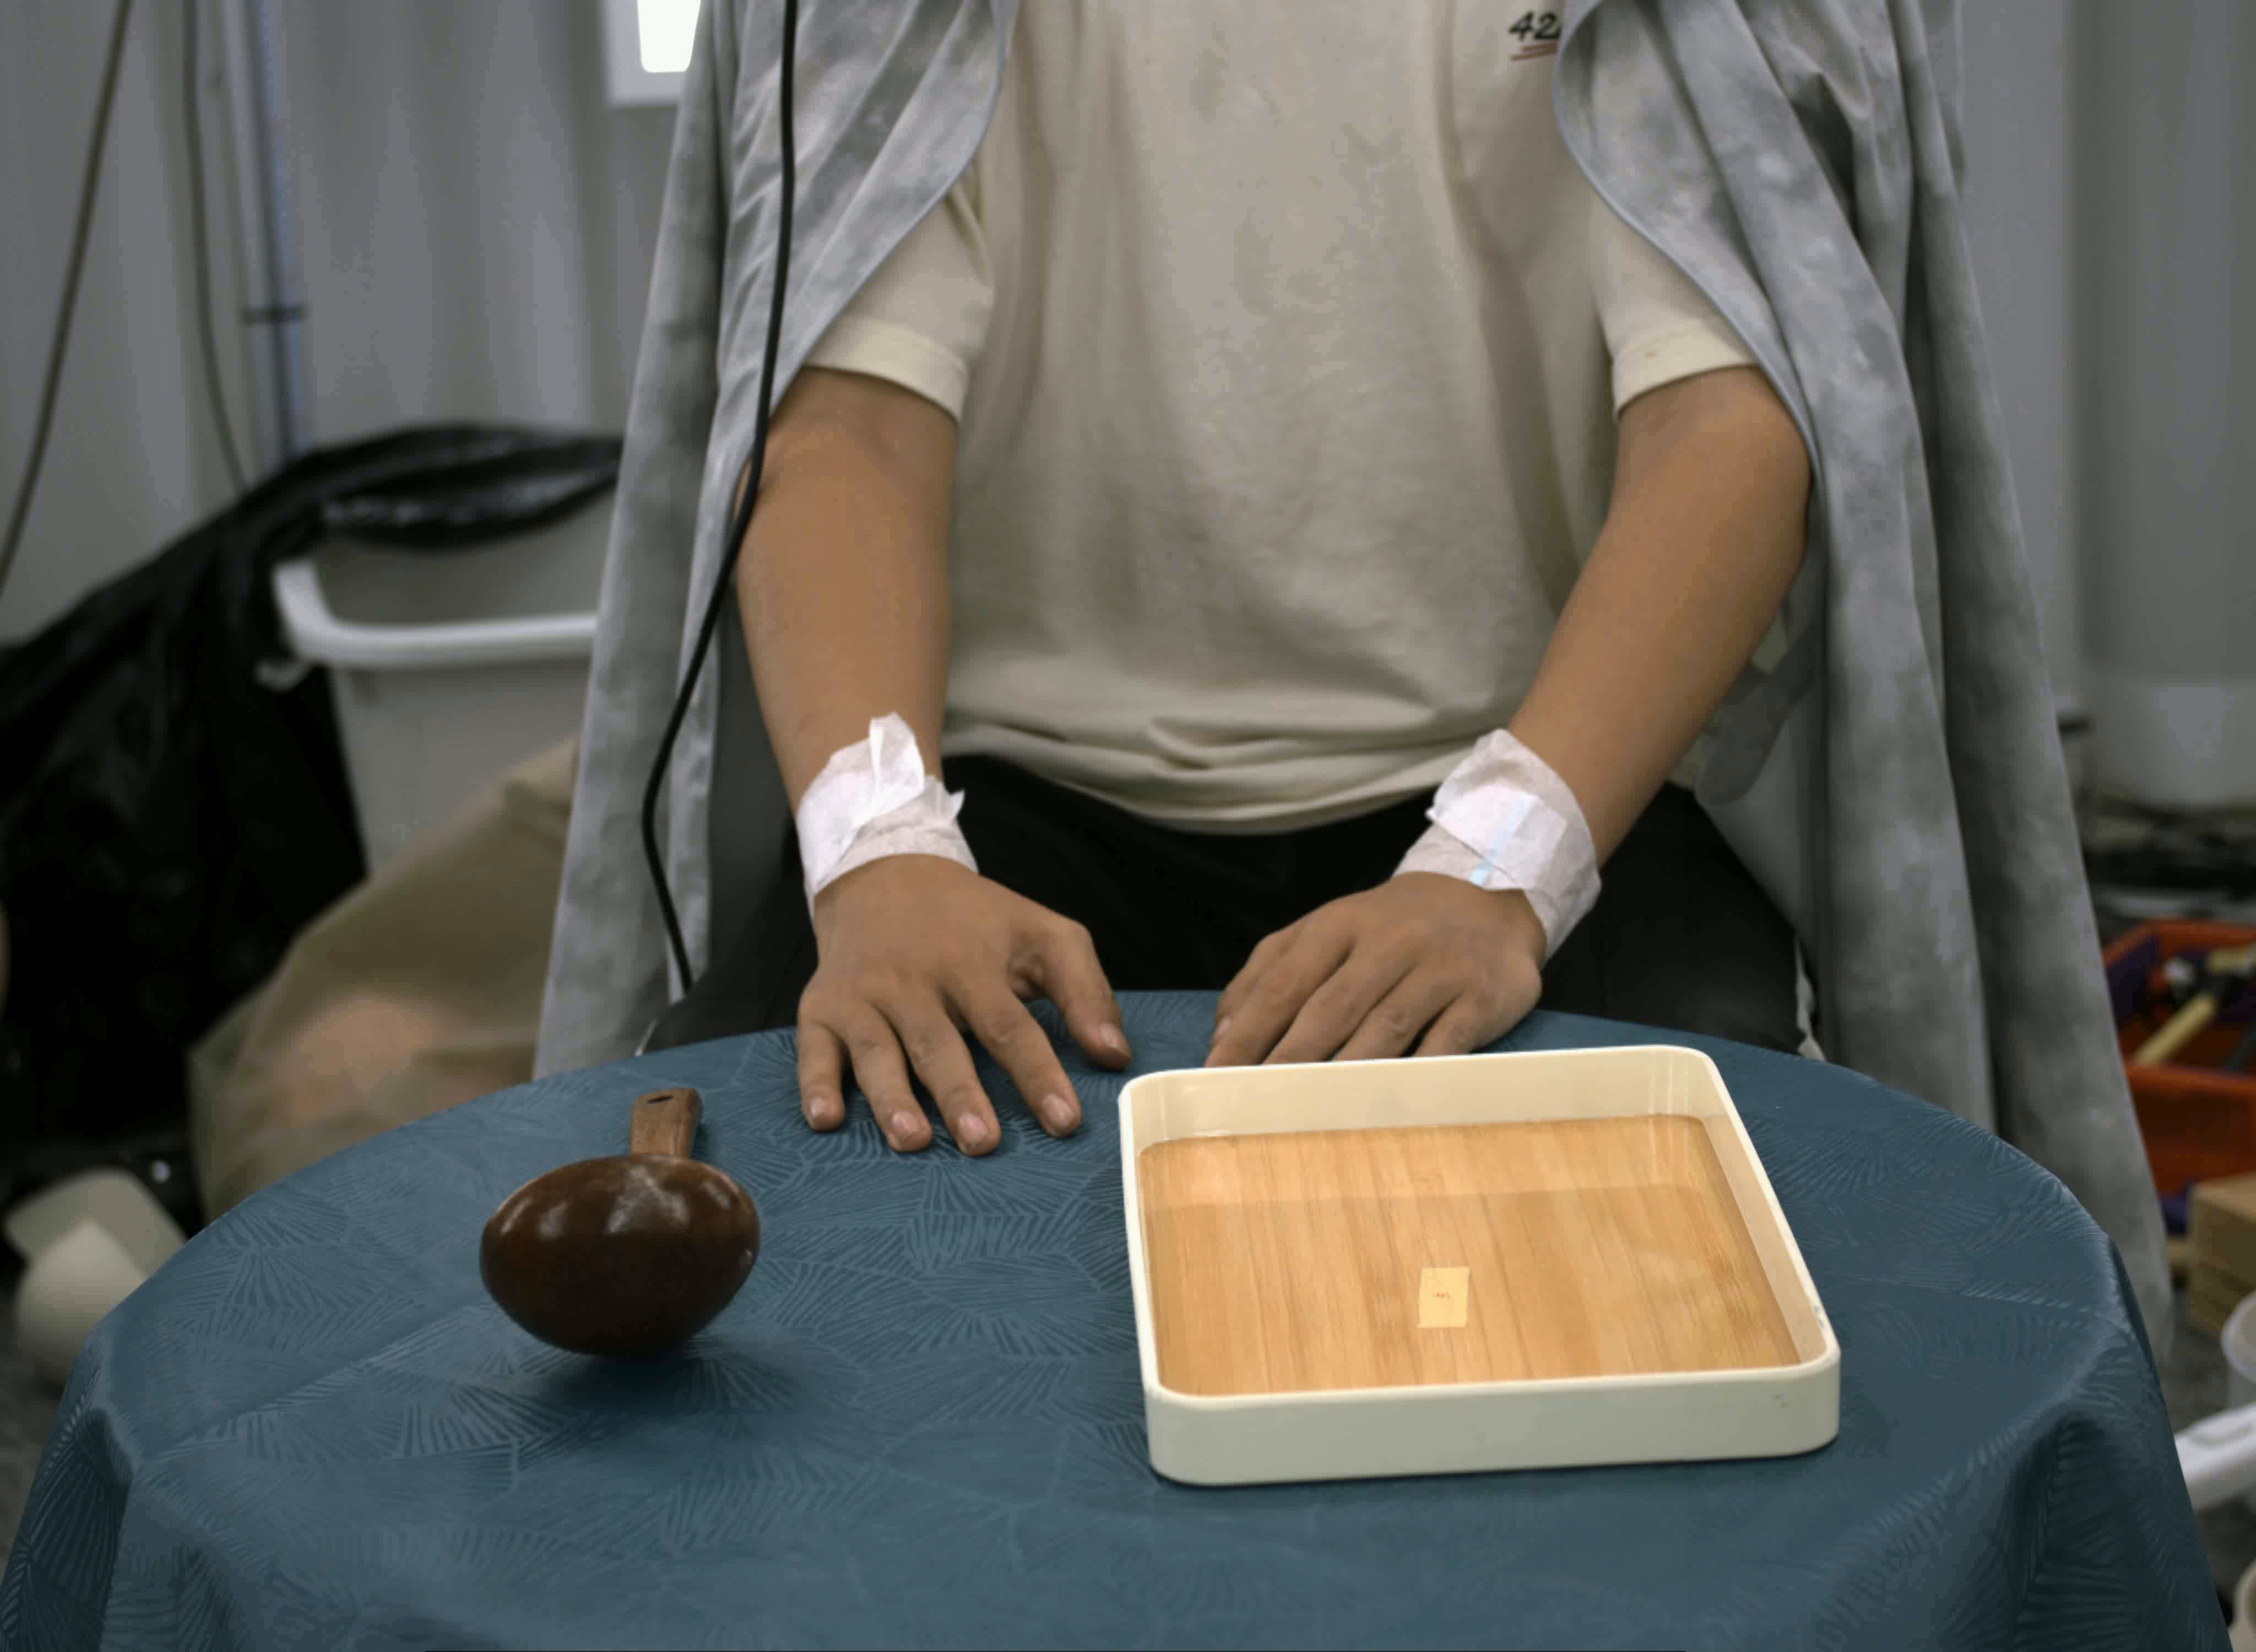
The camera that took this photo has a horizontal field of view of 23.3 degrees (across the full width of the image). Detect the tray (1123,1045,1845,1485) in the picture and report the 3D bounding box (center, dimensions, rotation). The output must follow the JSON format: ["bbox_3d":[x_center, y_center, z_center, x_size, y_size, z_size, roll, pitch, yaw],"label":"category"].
[{"bbox_3d":[0.097,0.125,1.610,0.191,0.027,0.302,-3,15,0],"label":"tray"}]

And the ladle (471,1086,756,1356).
[{"bbox_3d":[-0.149,0.096,1.669,0.081,0.076,0.276,-7,15,1],"label":"ladle"}]
